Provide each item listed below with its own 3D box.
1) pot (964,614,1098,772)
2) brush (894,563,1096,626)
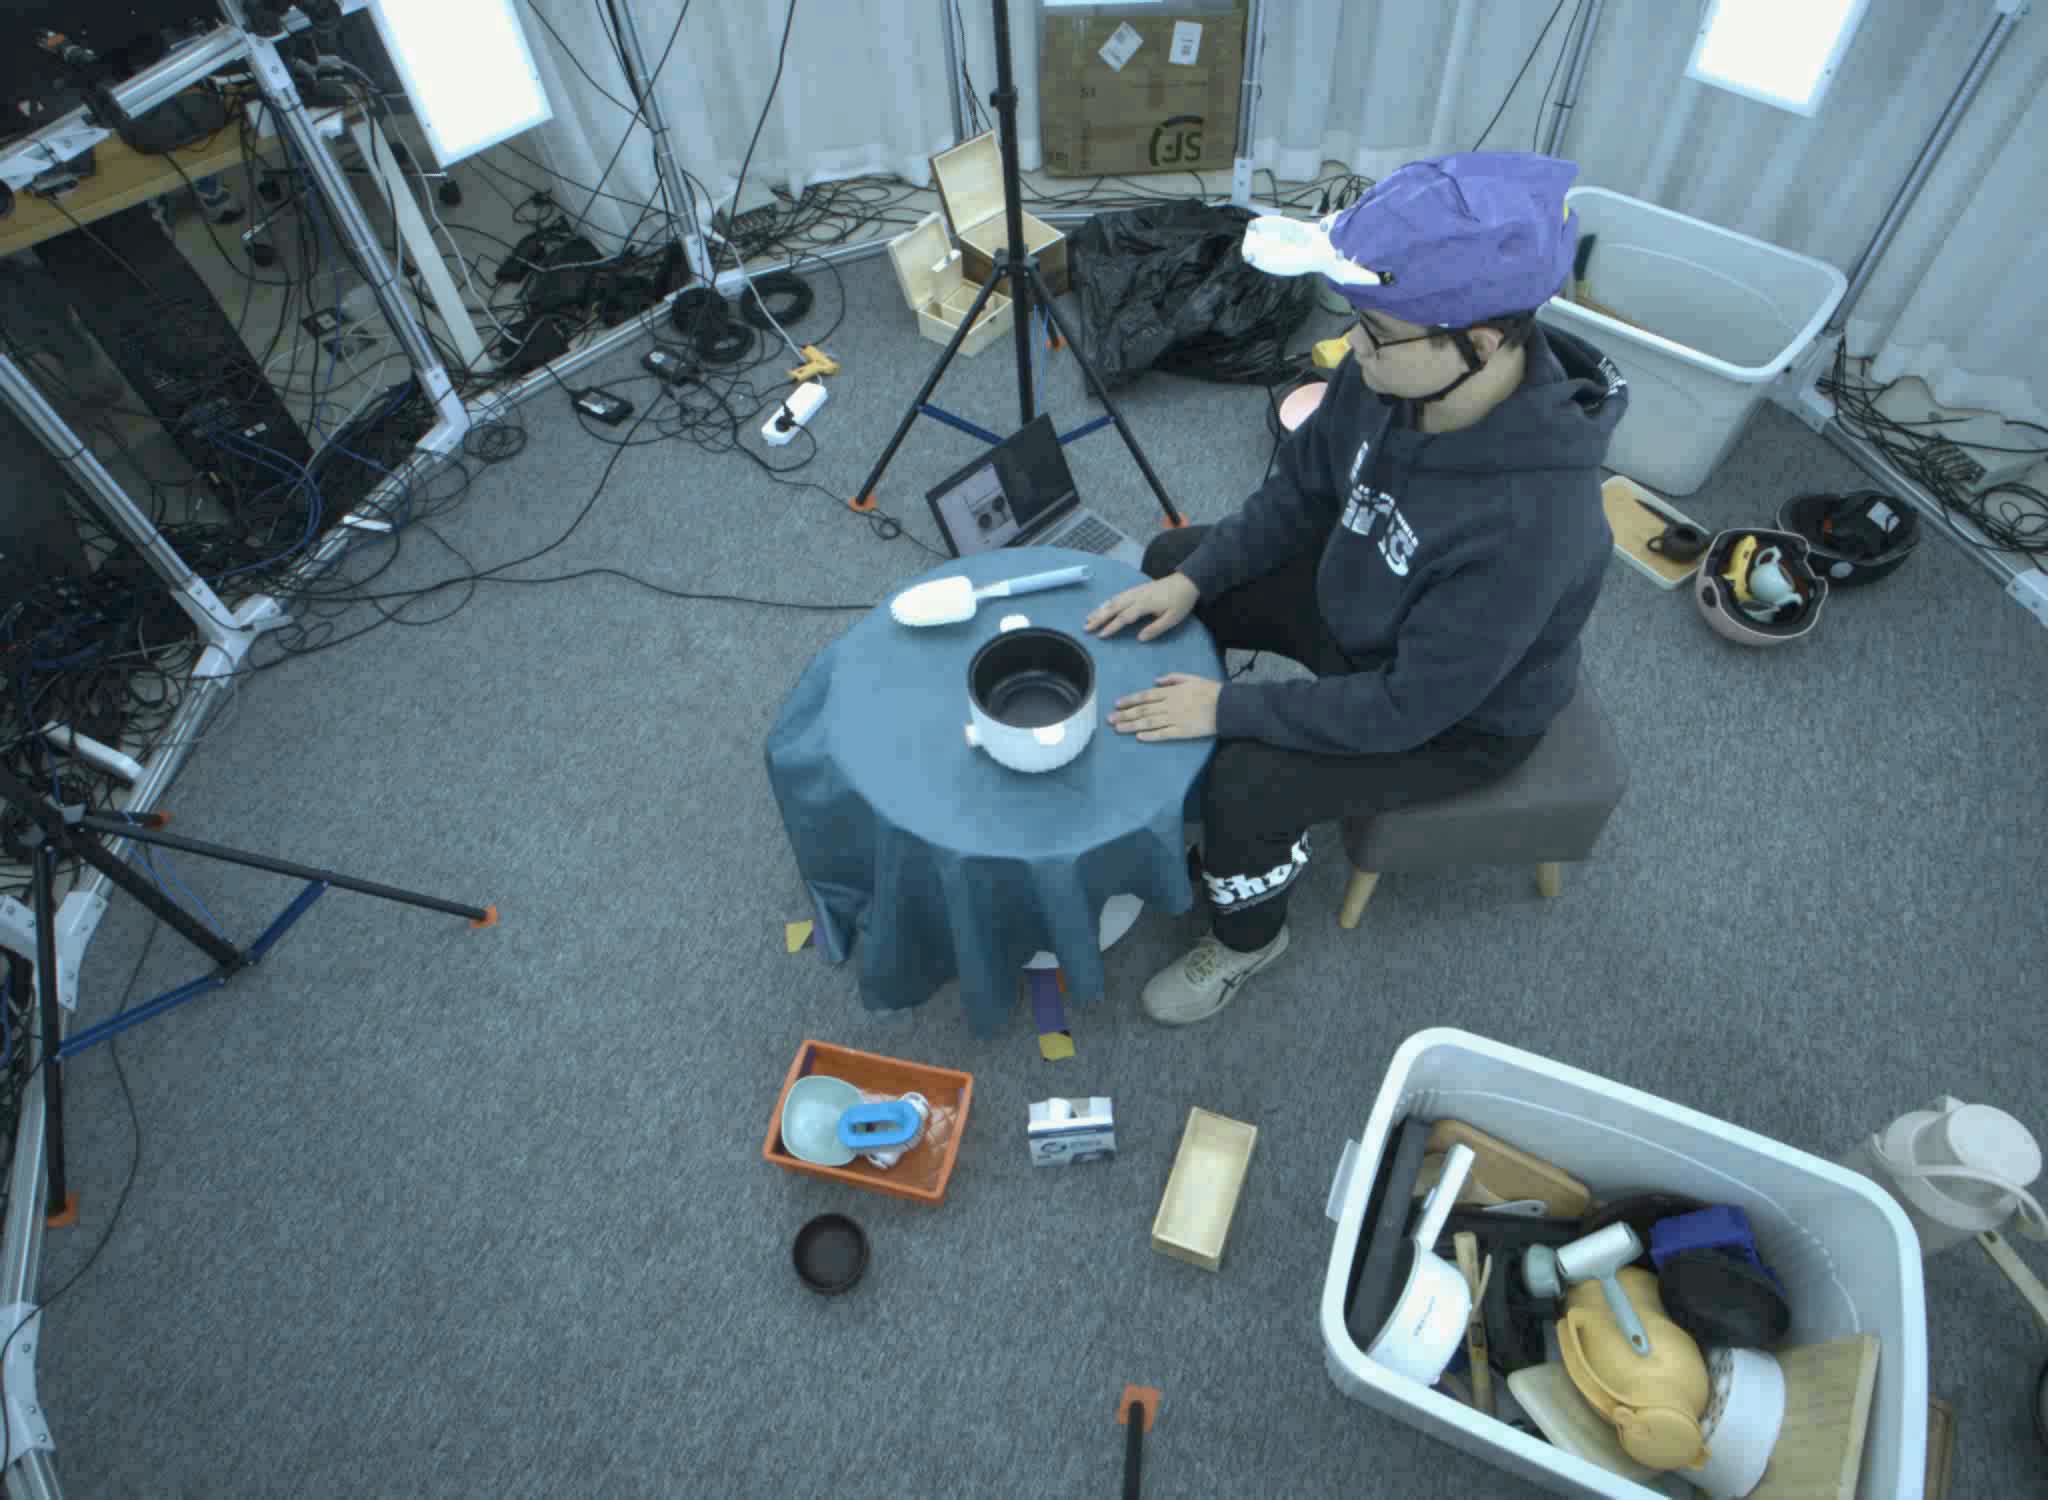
[{"bbox_3d":[0.008,-0.062,1.746,0.192,0.144,0.236,-12,54,-10],"label":"pot"},{"bbox_3d":[-0.043,-0.253,1.916,0.326,0.084,0.083,-12,48,-5],"label":"brush"}]
